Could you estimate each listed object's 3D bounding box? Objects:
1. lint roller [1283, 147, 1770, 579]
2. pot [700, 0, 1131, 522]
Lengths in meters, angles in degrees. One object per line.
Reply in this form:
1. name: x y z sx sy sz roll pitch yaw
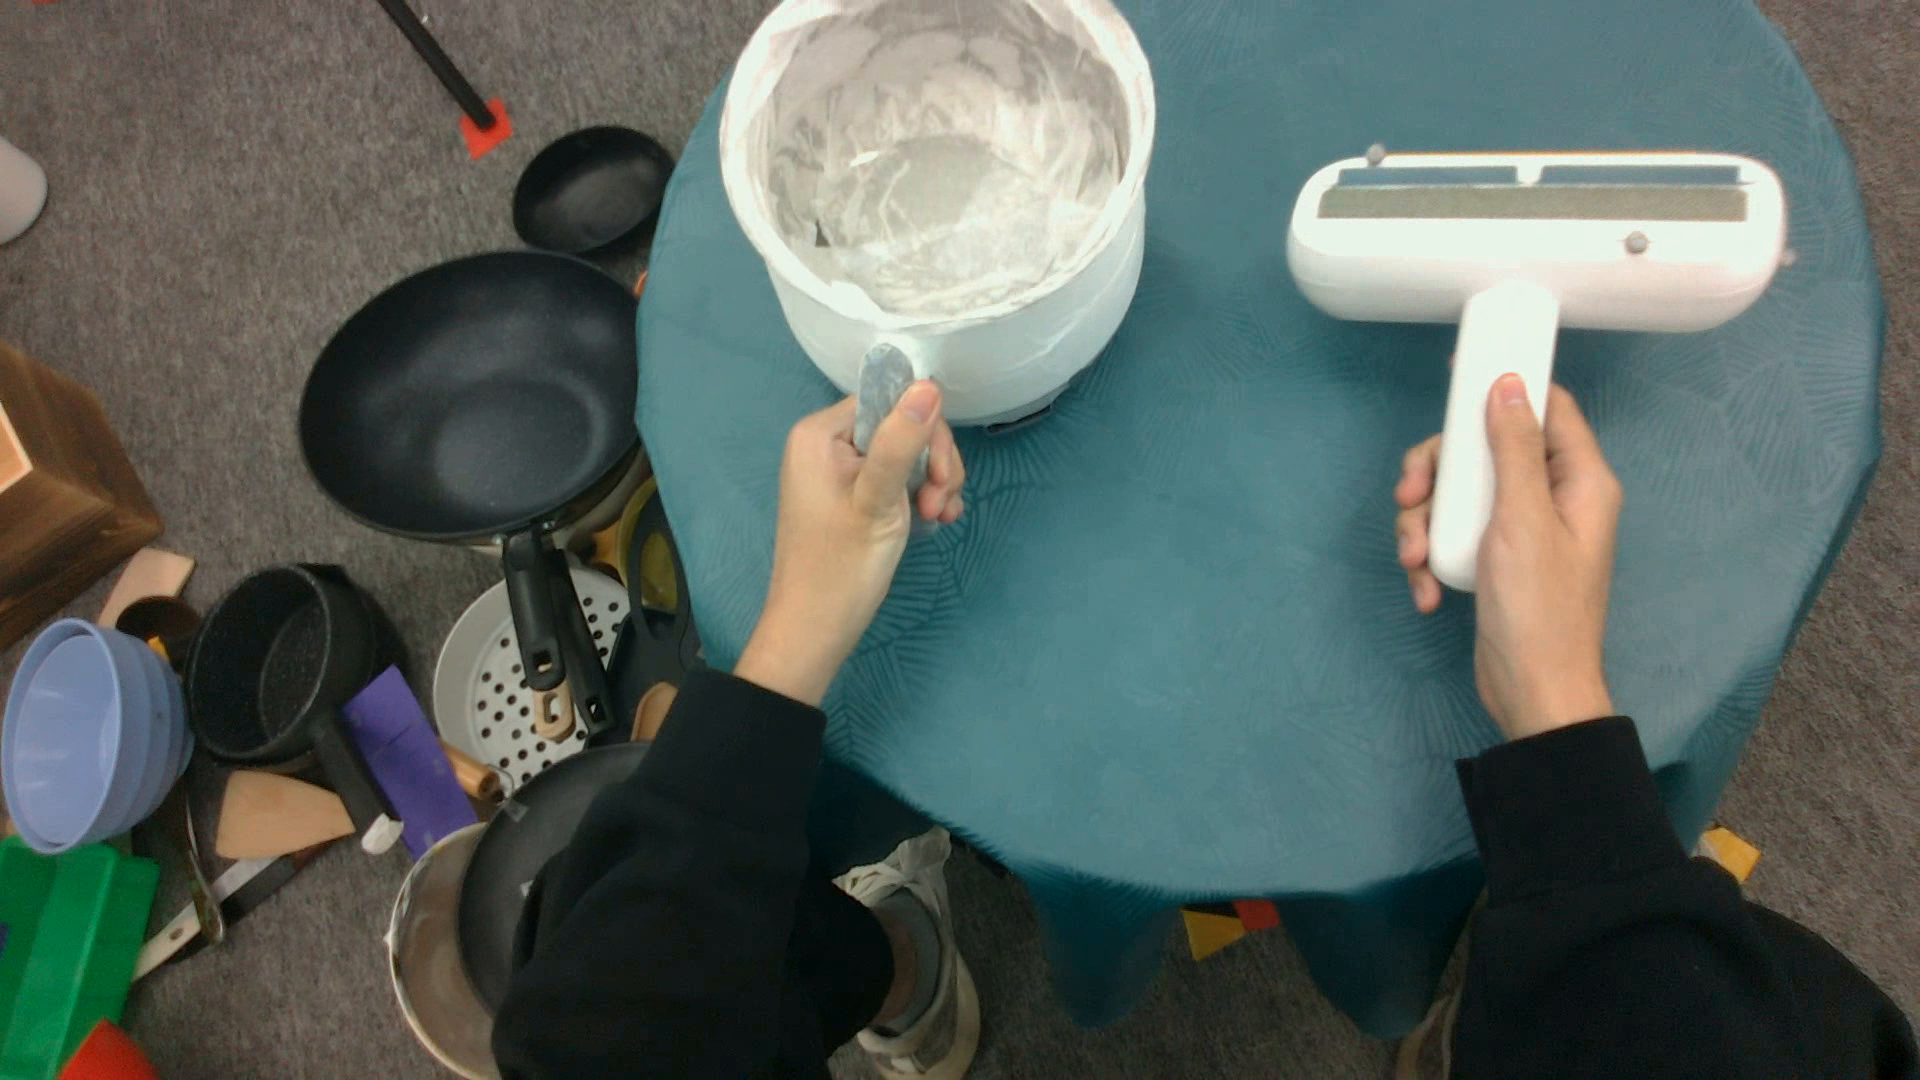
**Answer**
1. lint roller: 0.220 -0.078 0.577 0.192 0.074 0.193 12 67 20
2. pot: -0.017 -0.130 0.614 0.178 0.136 0.234 7 74 8
